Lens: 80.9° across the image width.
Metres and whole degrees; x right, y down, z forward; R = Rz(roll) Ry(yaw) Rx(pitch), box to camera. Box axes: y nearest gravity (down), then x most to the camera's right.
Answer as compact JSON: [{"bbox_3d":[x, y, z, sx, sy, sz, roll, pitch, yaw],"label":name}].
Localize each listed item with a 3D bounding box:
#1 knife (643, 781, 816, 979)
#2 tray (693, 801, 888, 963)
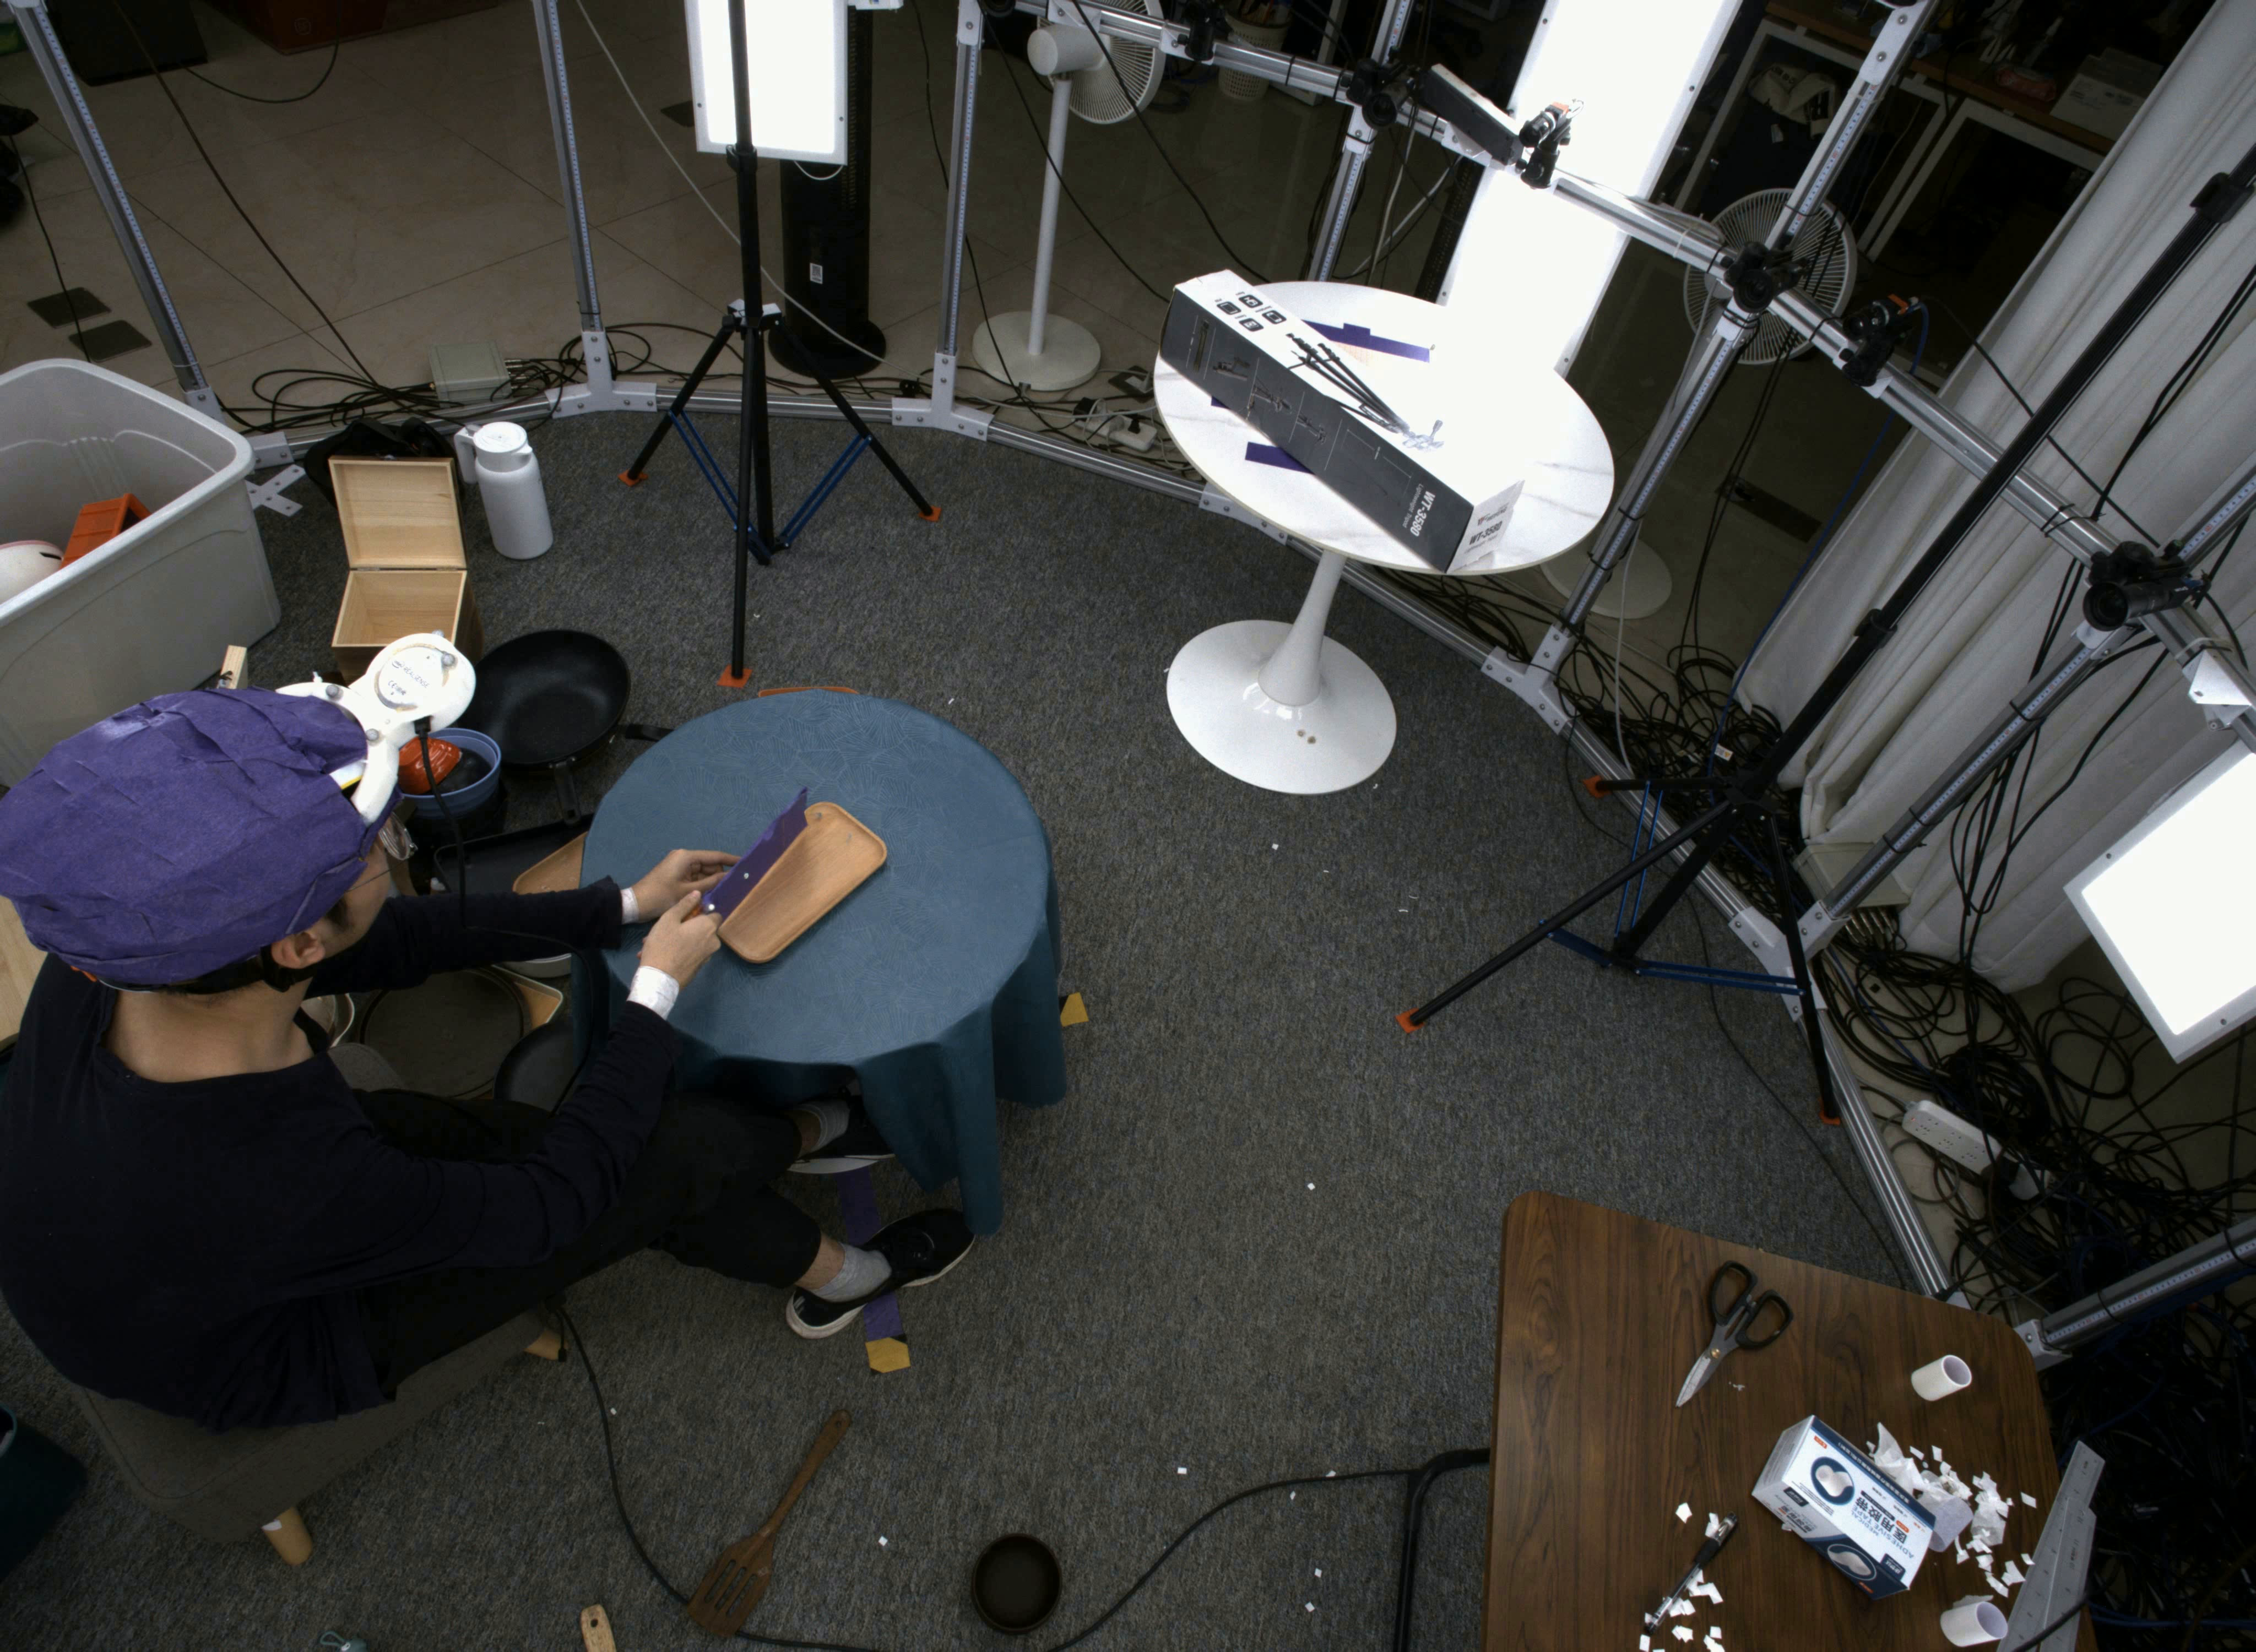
[{"bbox_3d":[-0.473,0.076,1.571,0.032,0.106,0.314,29,53,9],"label":"knife"},{"bbox_3d":[-0.429,0.068,1.662,0.128,0.023,0.251,39,54,12],"label":"tray"}]
